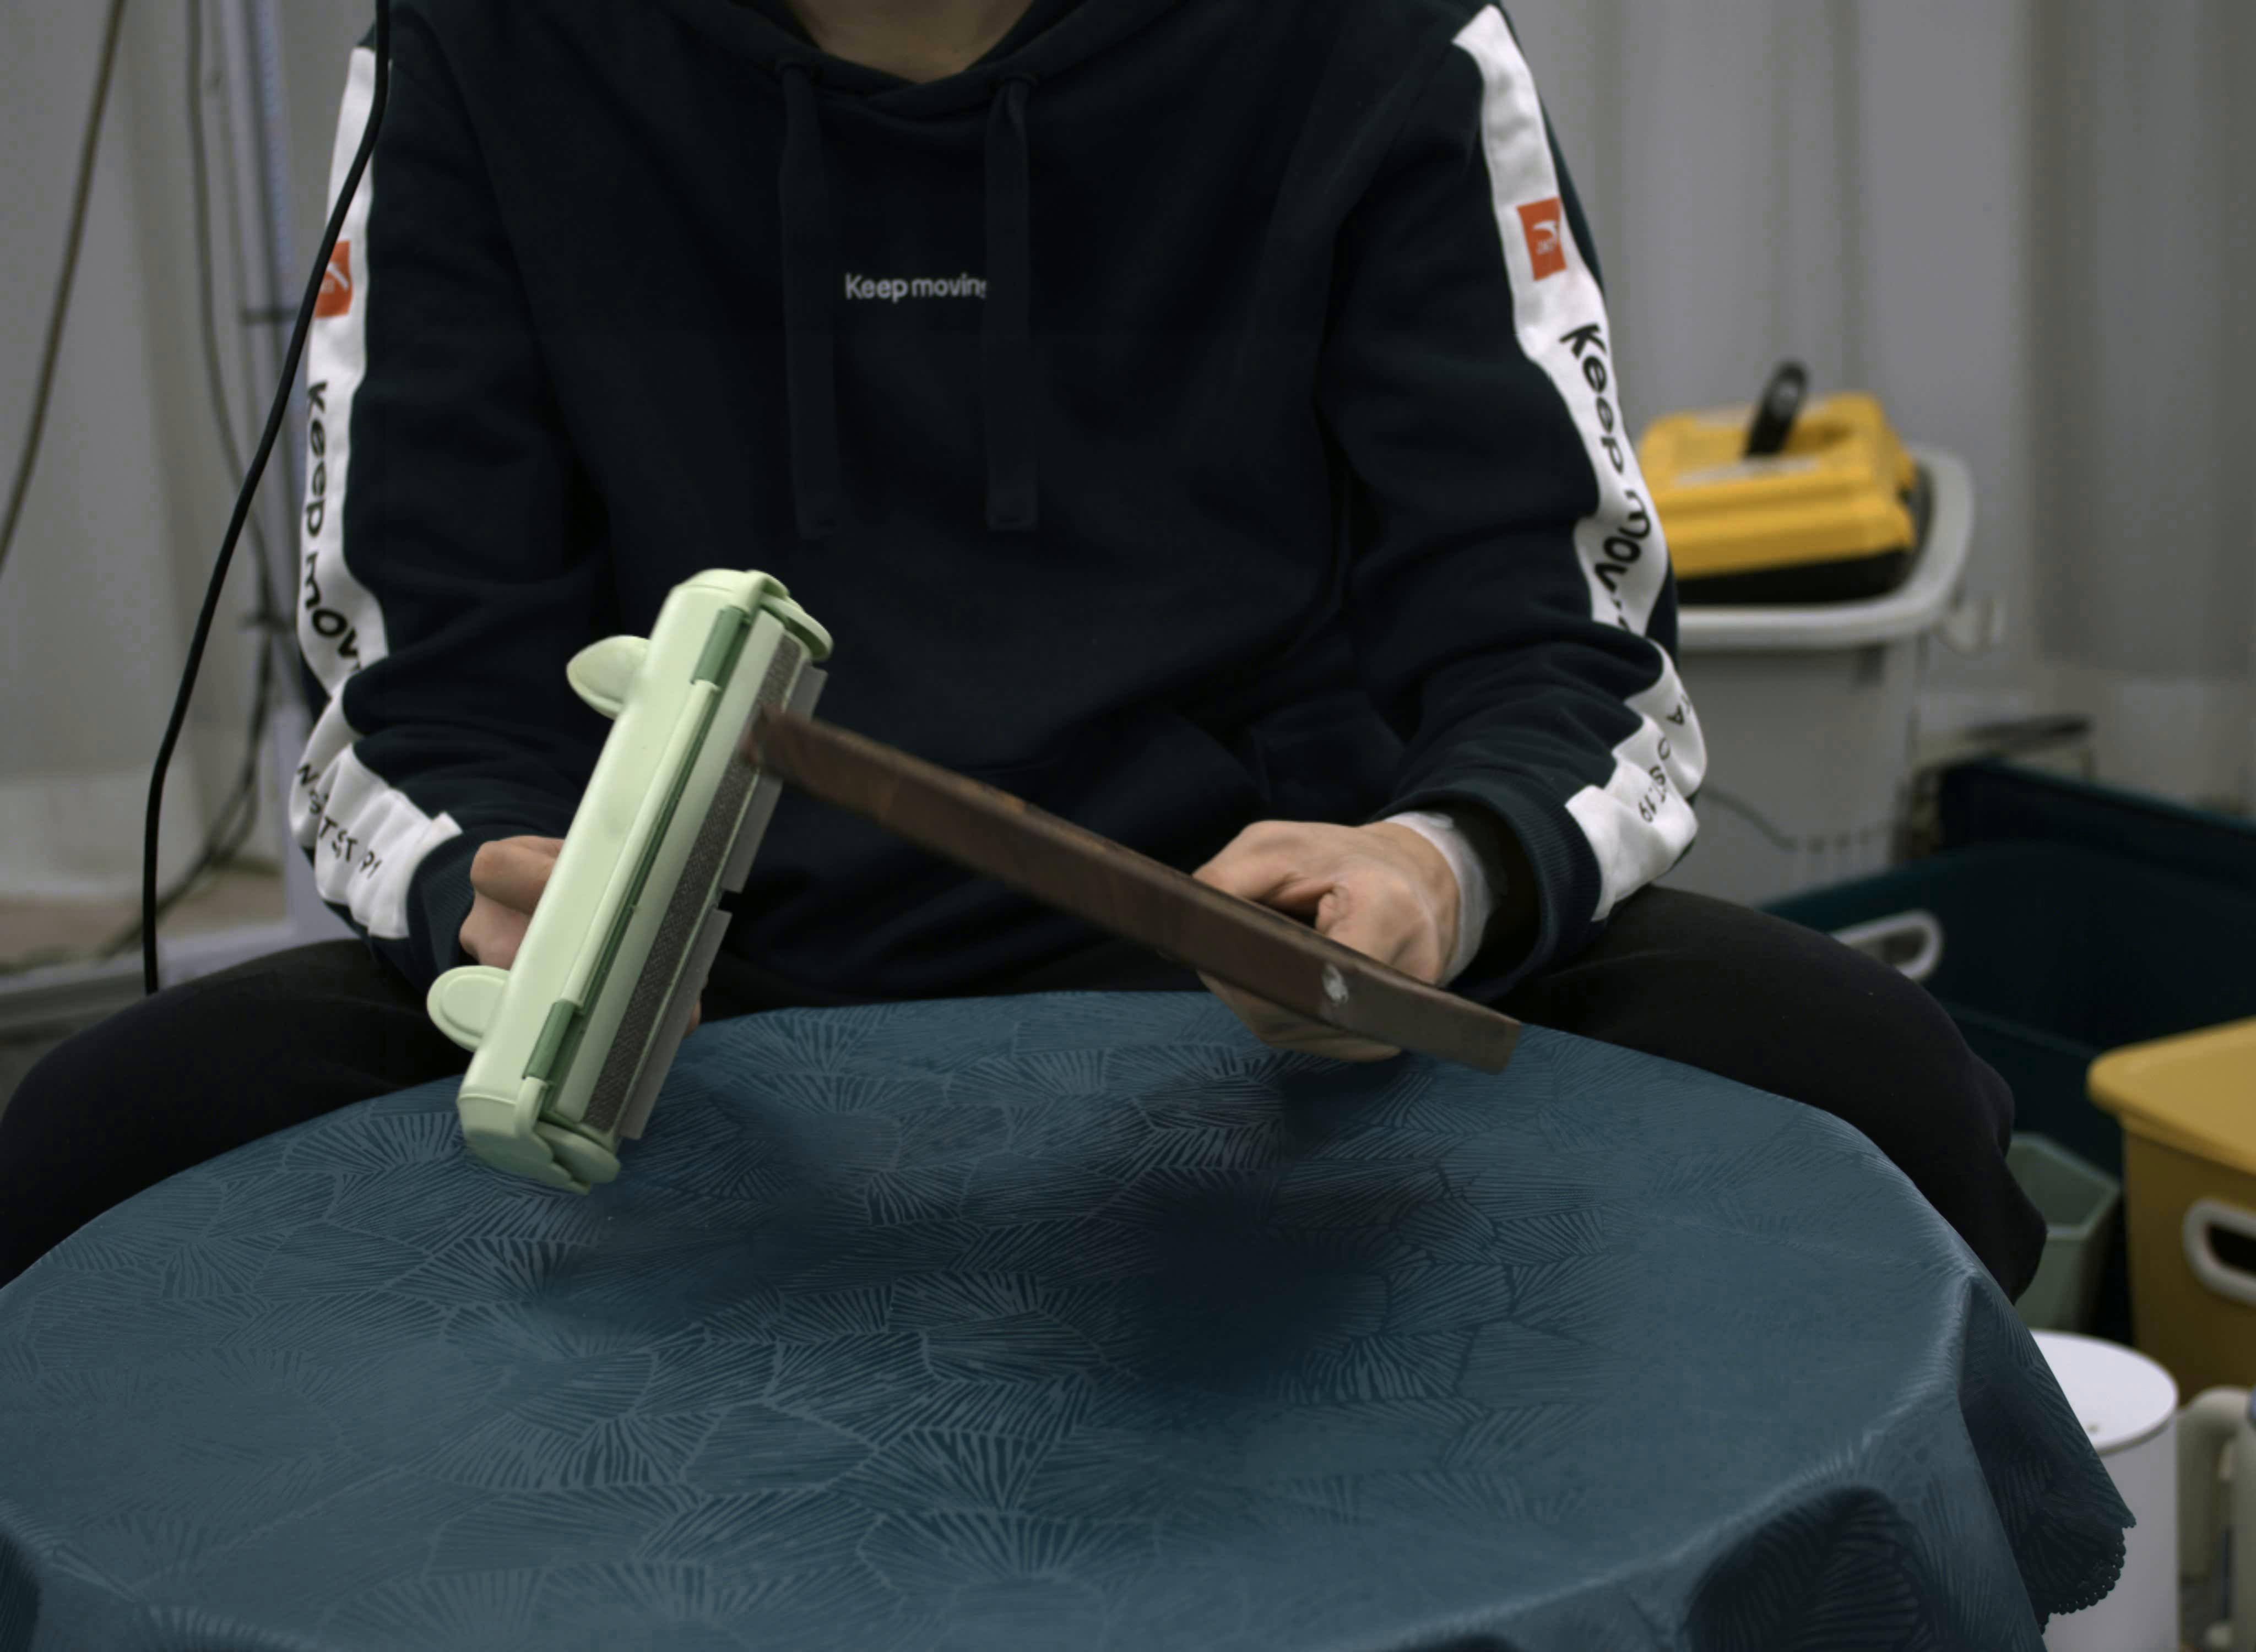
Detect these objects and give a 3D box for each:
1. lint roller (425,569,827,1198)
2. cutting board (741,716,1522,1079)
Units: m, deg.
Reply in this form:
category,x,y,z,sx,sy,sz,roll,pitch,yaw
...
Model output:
category,x,y,z,sx,sy,sz,roll,pitch,yaw
lint roller,-0.172,0.024,1.743,0.082,0.200,0.183,25,-18,-12
cutting board,0.018,0.028,1.657,0.201,0.023,0.350,23,0,14
